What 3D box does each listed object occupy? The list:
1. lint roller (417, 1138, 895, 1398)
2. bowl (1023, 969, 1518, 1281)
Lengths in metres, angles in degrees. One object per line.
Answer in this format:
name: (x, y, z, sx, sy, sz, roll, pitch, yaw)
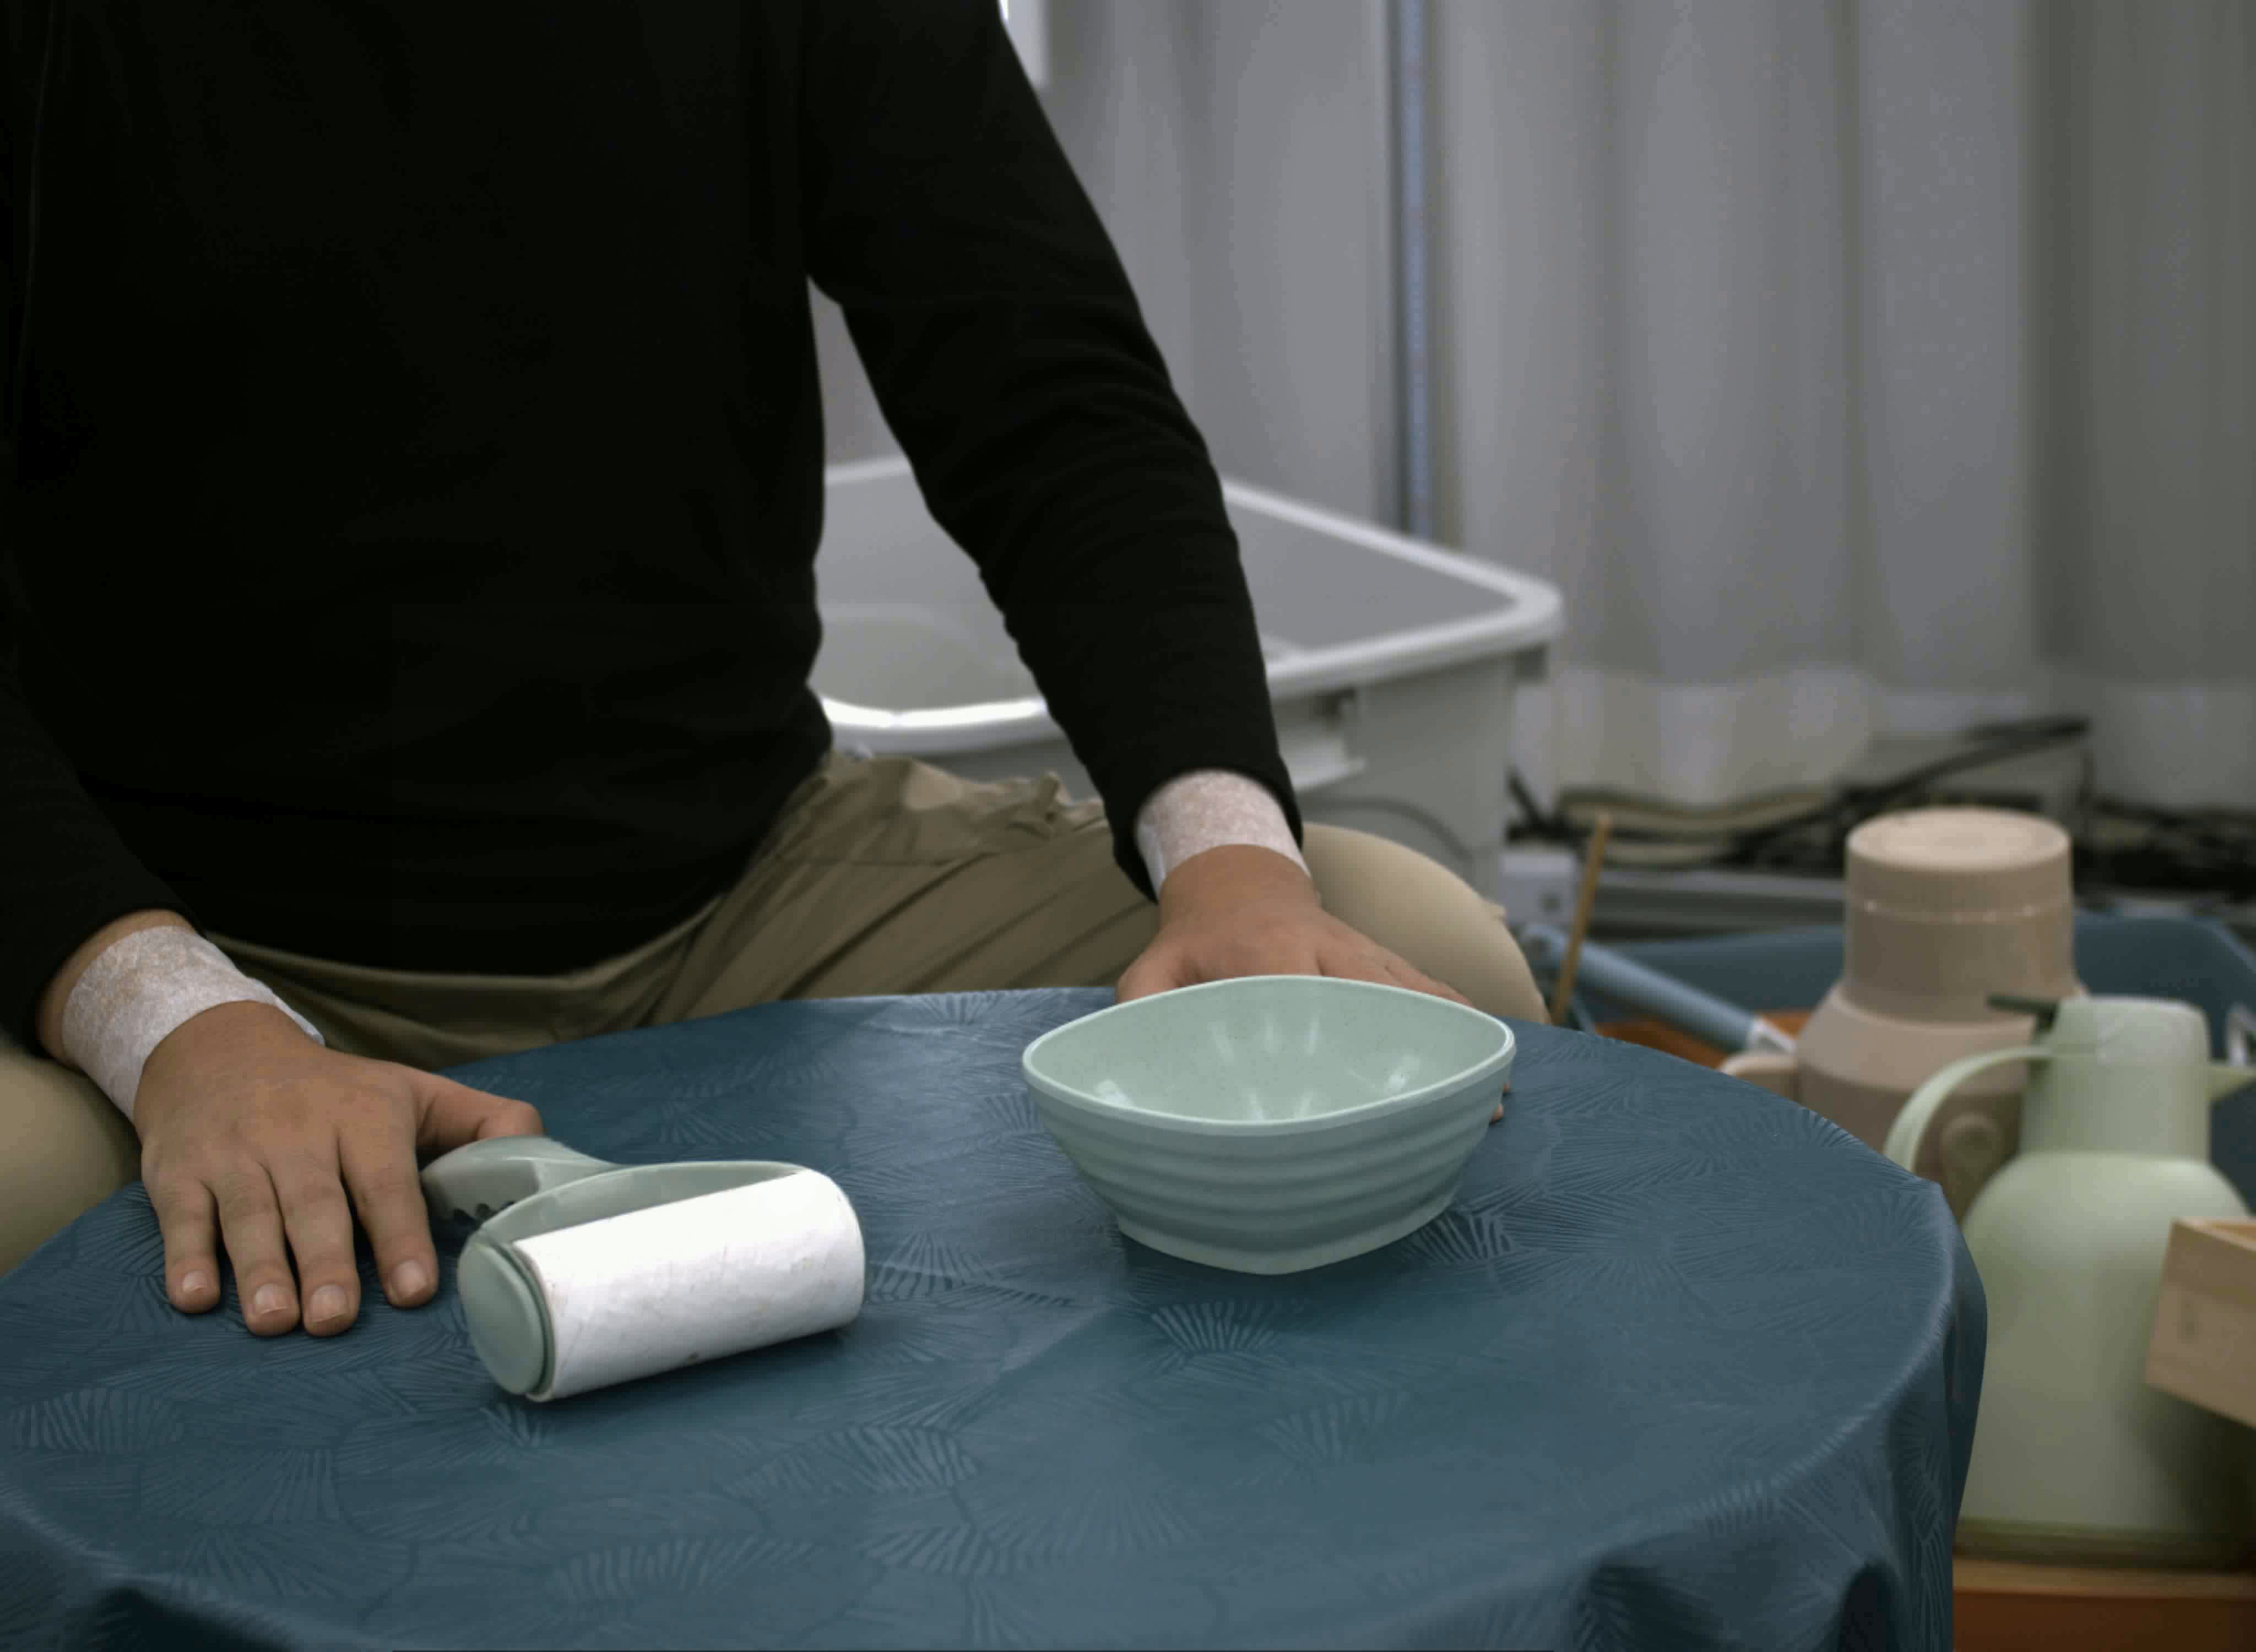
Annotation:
lint roller: (-0.162, 0.119, 1.645, 0.116, 0.048, 0.199, -14, 17, -30)
bowl: (0.044, 0.095, 1.672, 0.151, 0.058, 0.152, -3, 16, 0)
